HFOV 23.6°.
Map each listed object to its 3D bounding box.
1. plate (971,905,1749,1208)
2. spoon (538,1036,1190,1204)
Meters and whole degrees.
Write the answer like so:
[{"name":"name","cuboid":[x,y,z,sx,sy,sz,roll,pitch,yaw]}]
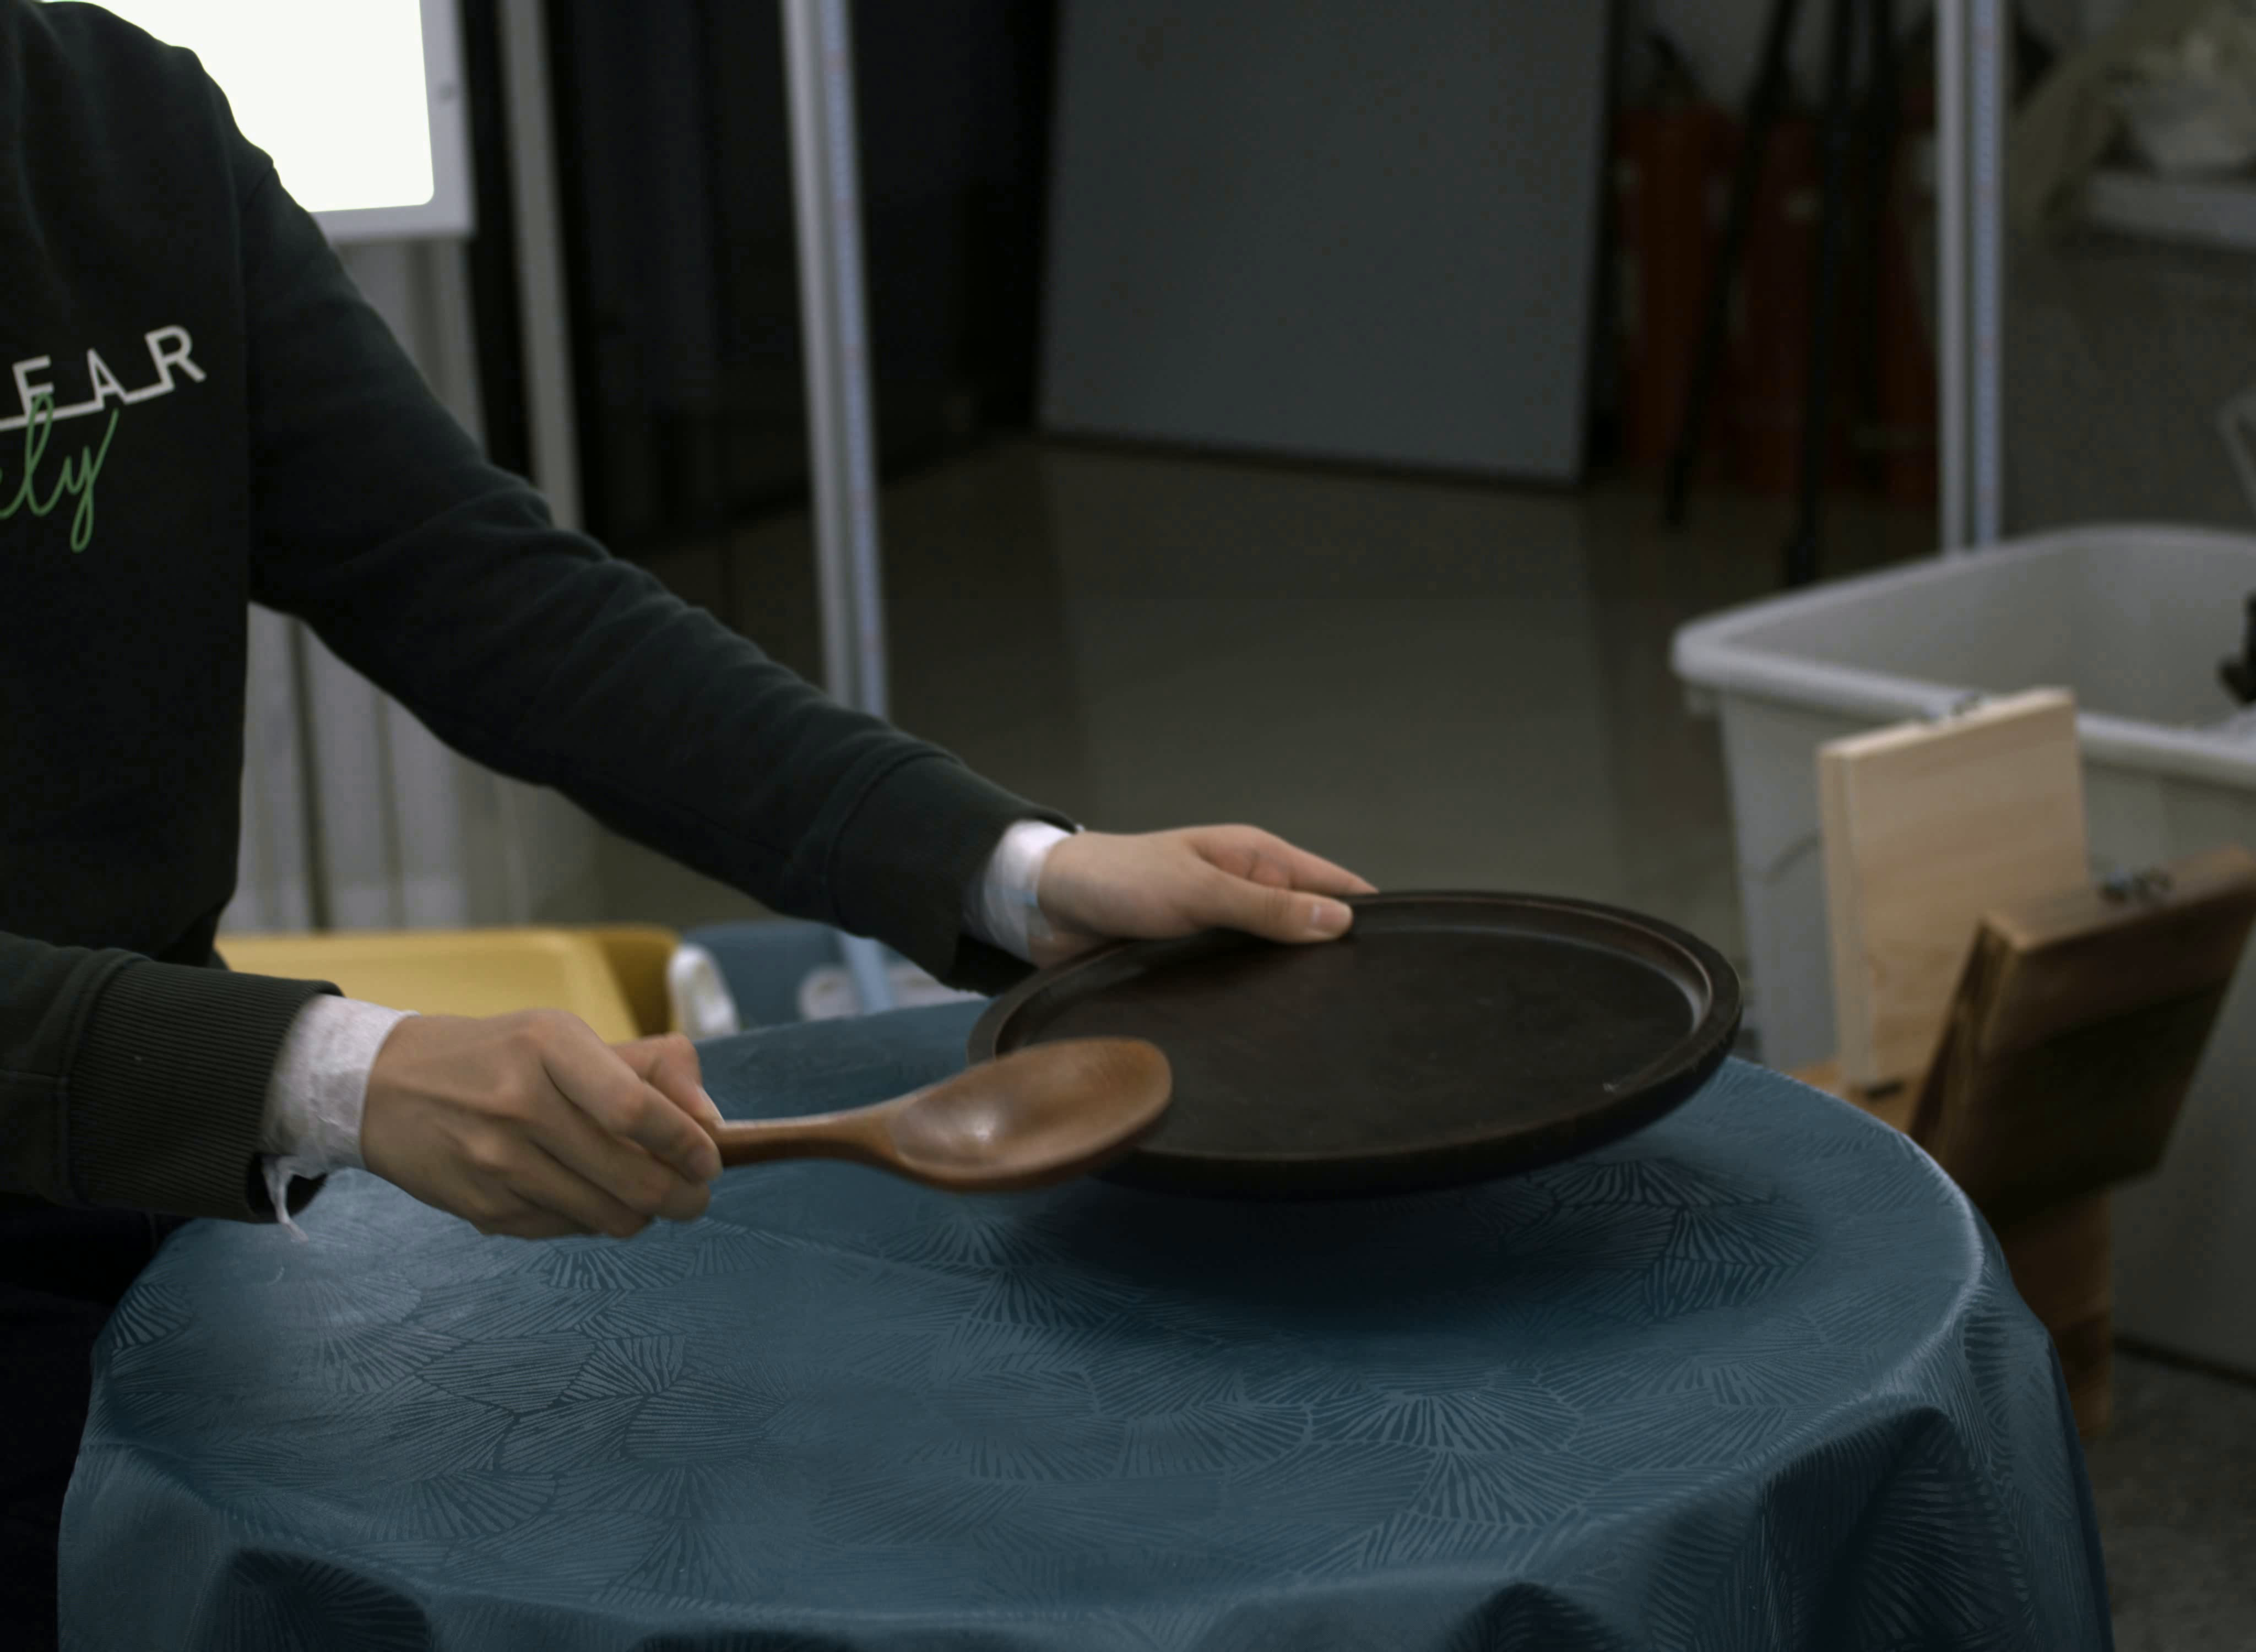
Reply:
[{"name":"plate","cuboid":[0.074,0.071,1.730,0.251,0.029,0.255,-5,17,1]},{"name":"spoon","cuboid":[-0.077,0.090,1.543,0.216,0.017,0.075,-6,28,30]}]
